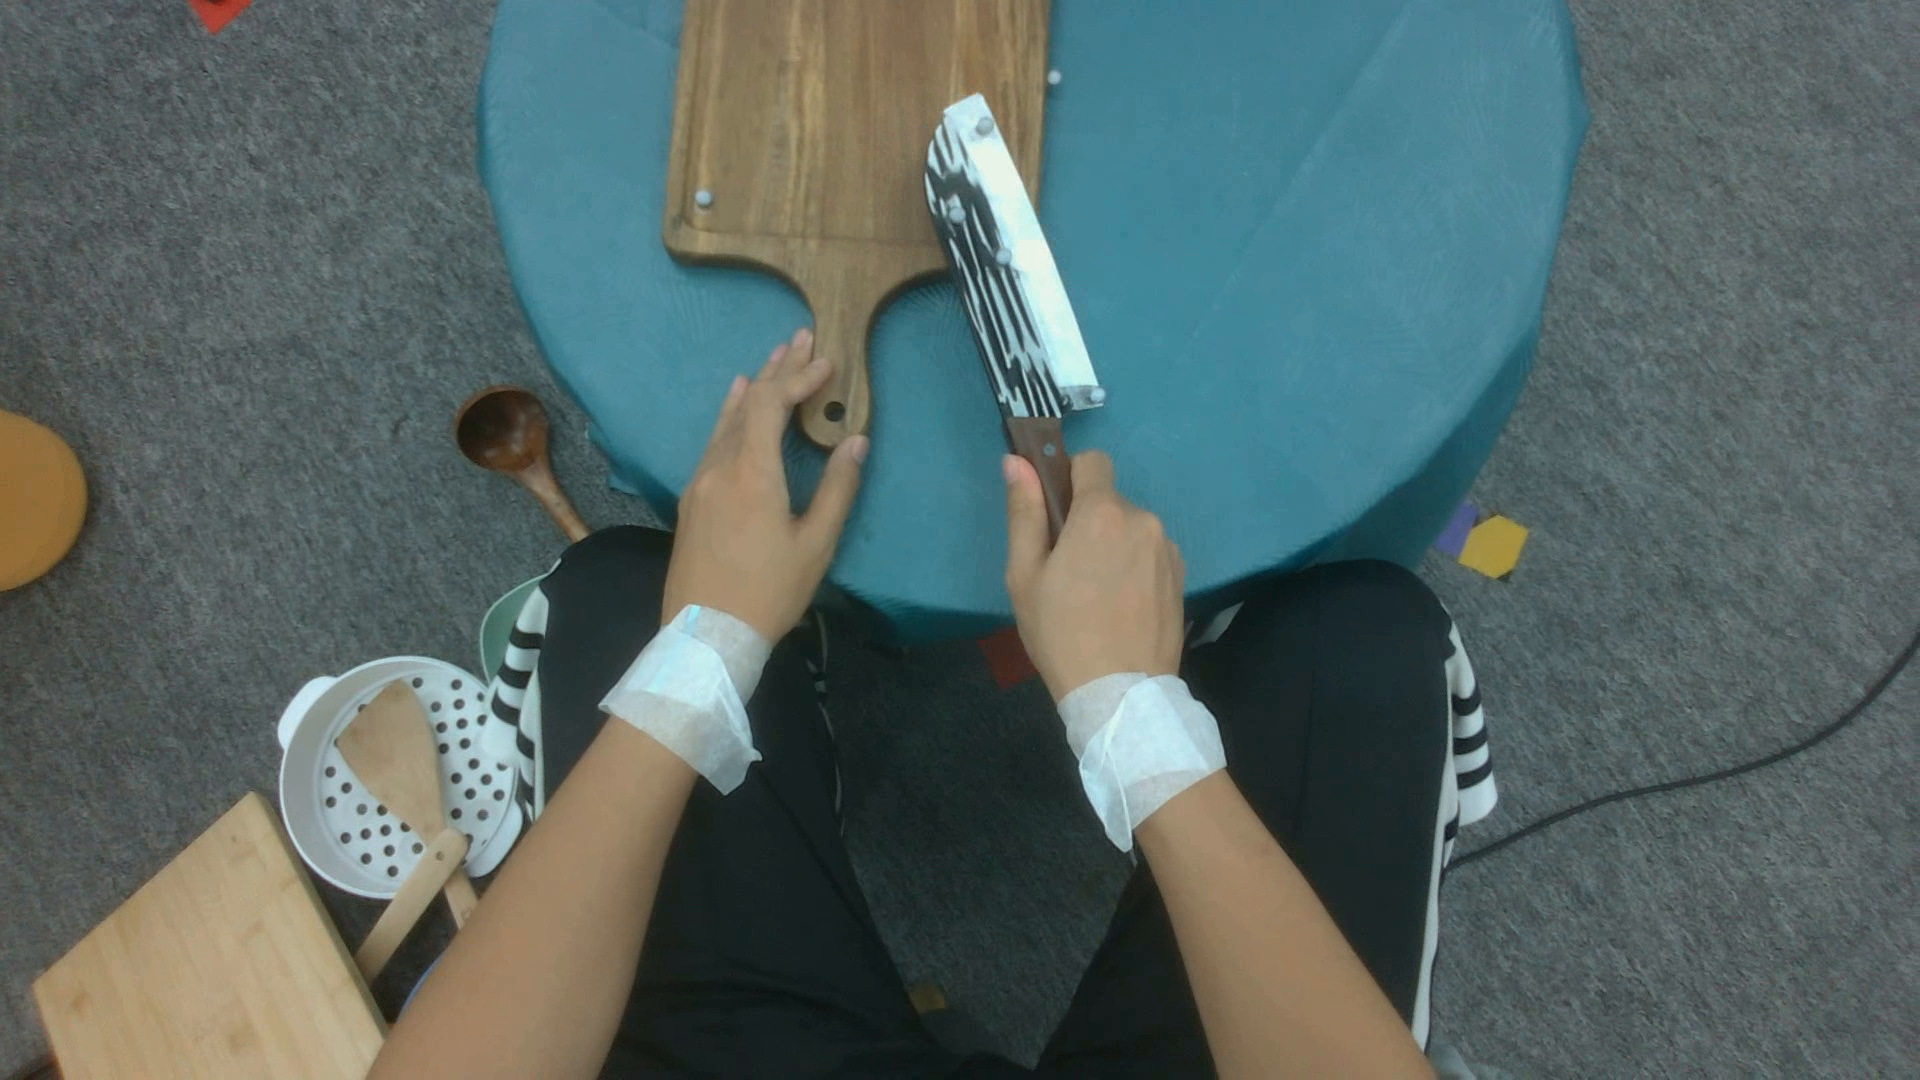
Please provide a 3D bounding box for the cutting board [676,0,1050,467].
[{"bbox_3d":[-0.052,-0.213,0.757,0.201,0.023,0.353,2,79,1],"label":"cutting board"}]

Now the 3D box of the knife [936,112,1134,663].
[{"bbox_3d":[0.044,-0.085,0.709,0.068,0.024,0.300,-12,80,-34],"label":"knife"}]
